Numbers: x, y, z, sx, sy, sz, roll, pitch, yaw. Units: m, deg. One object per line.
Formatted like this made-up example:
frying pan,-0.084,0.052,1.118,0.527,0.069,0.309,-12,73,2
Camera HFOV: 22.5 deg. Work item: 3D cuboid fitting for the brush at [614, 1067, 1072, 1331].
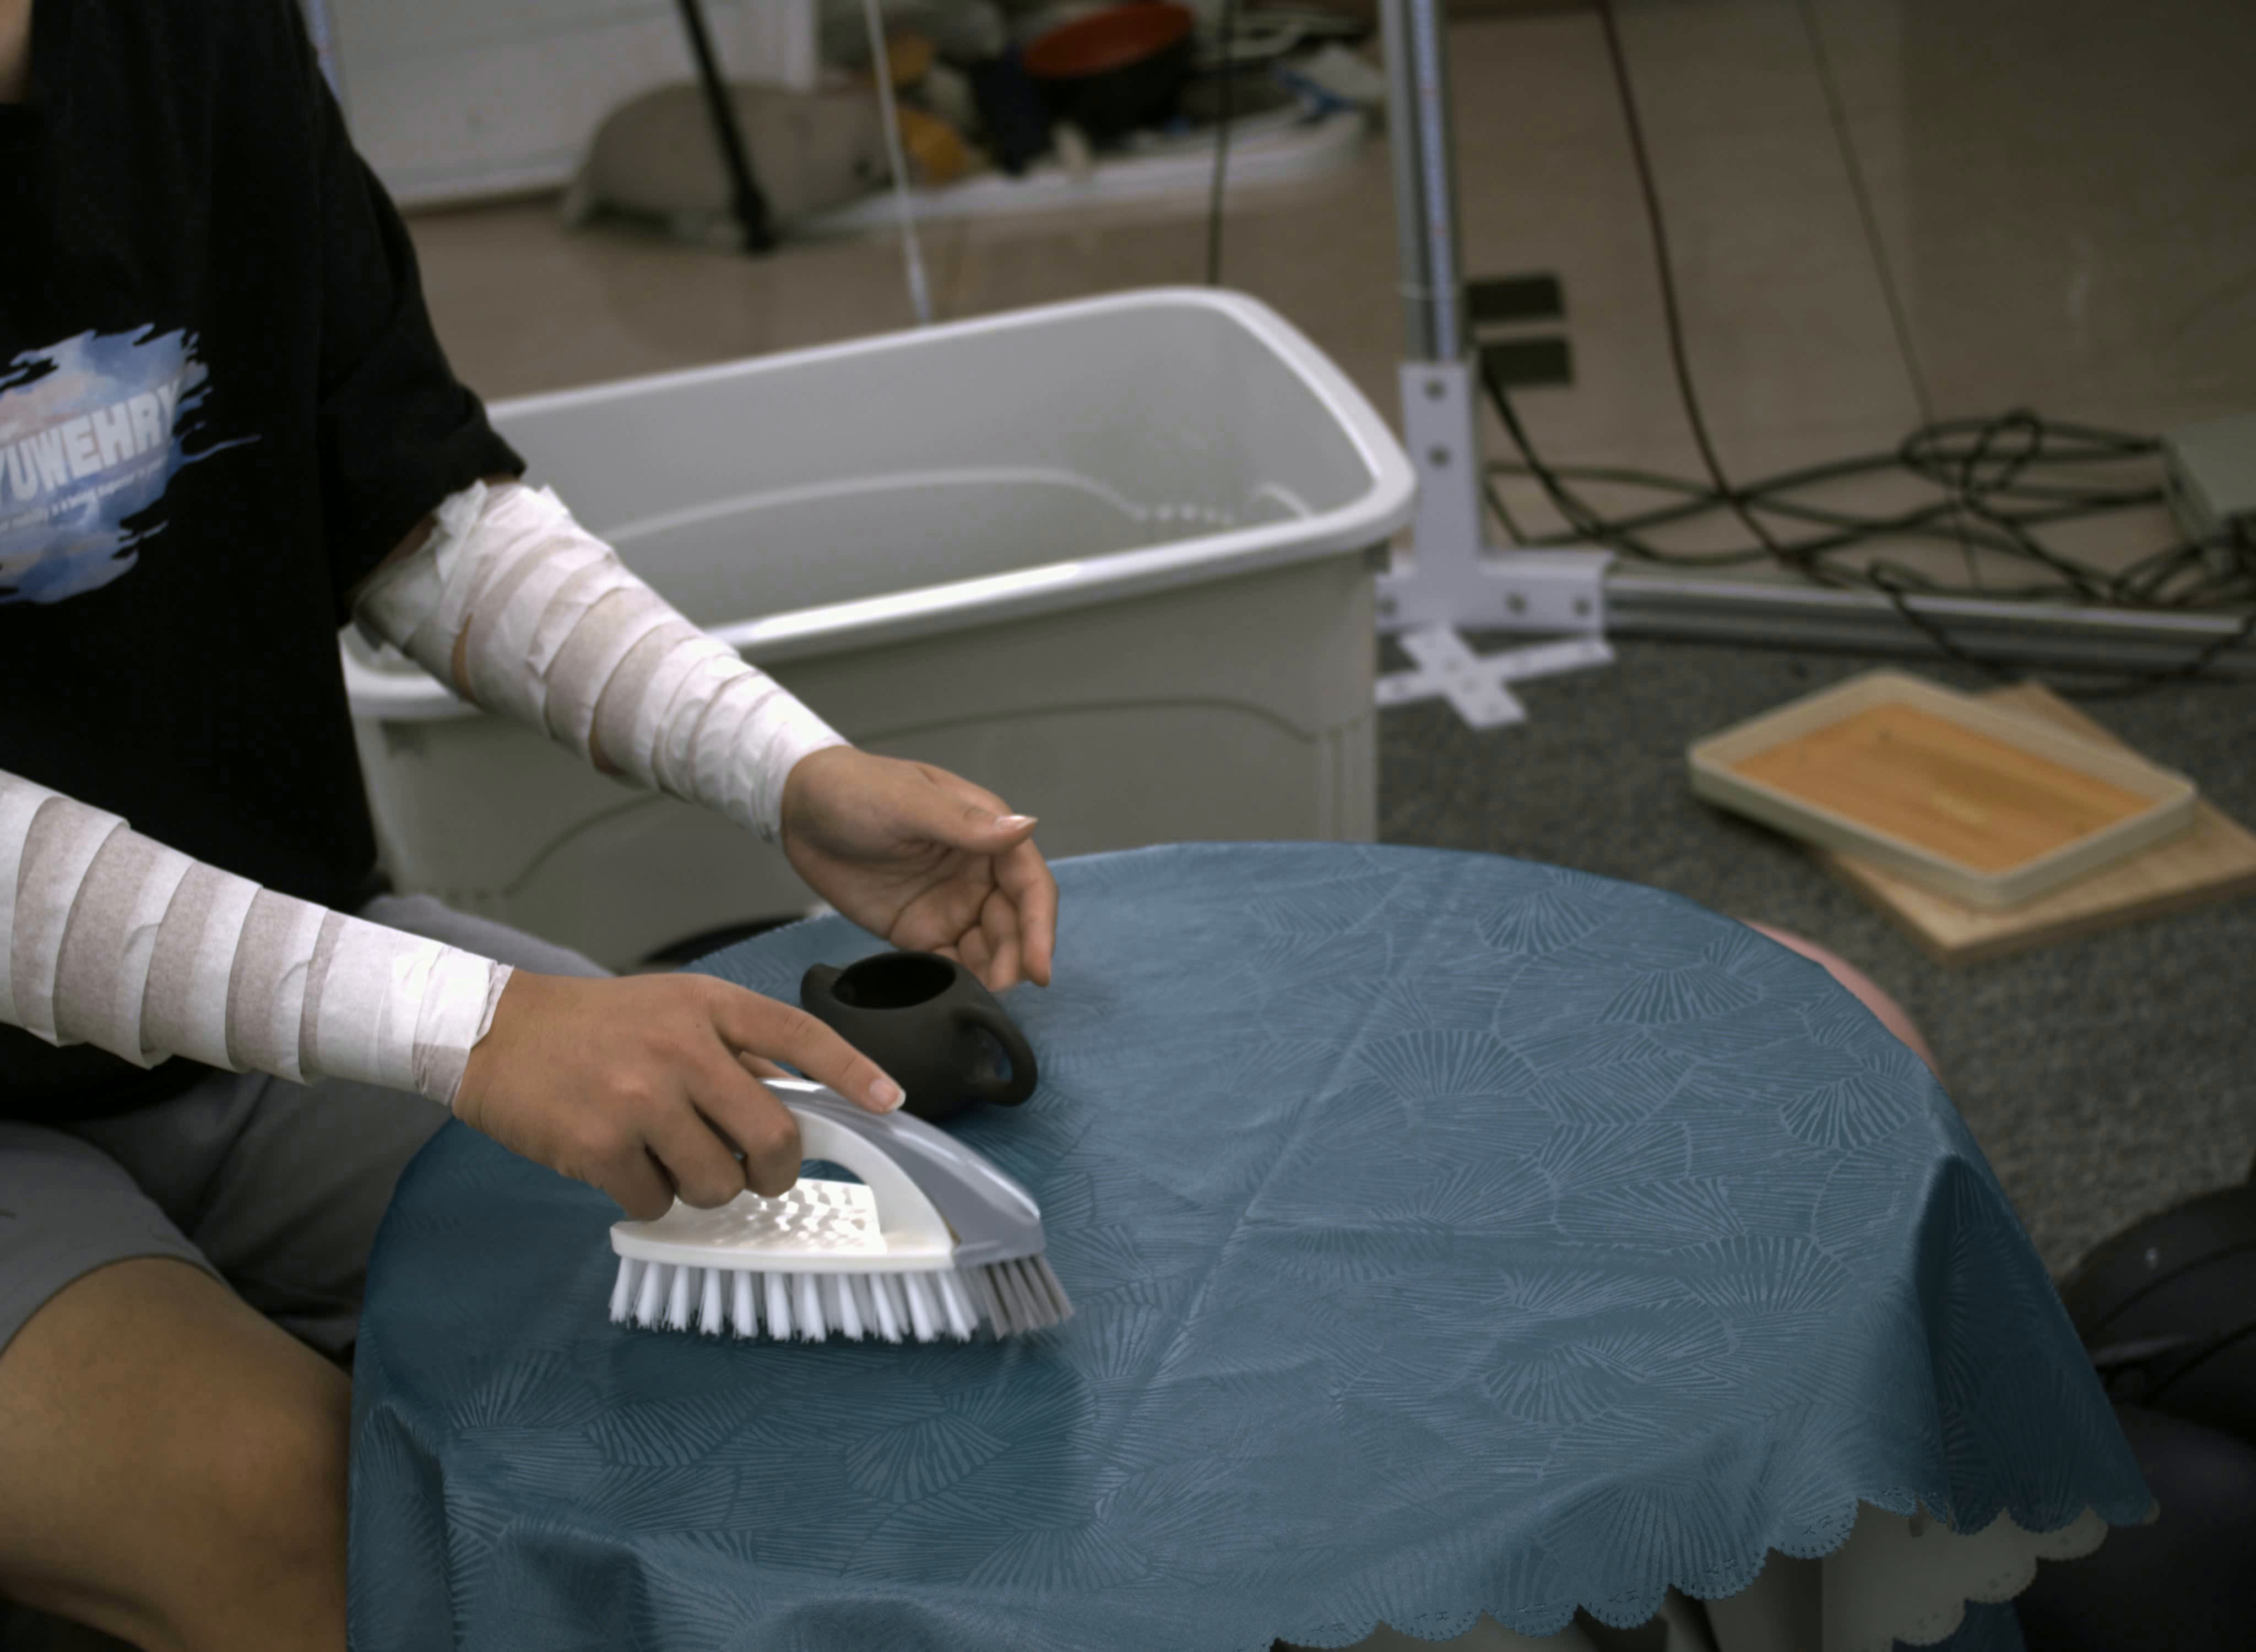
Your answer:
brush,-0.107,0.132,2.064,0.175,0.096,0.060,4,29,21

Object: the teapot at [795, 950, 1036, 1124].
teapot,-0.081,0.085,2.223,0.113,0.054,0.082,13,32,39
